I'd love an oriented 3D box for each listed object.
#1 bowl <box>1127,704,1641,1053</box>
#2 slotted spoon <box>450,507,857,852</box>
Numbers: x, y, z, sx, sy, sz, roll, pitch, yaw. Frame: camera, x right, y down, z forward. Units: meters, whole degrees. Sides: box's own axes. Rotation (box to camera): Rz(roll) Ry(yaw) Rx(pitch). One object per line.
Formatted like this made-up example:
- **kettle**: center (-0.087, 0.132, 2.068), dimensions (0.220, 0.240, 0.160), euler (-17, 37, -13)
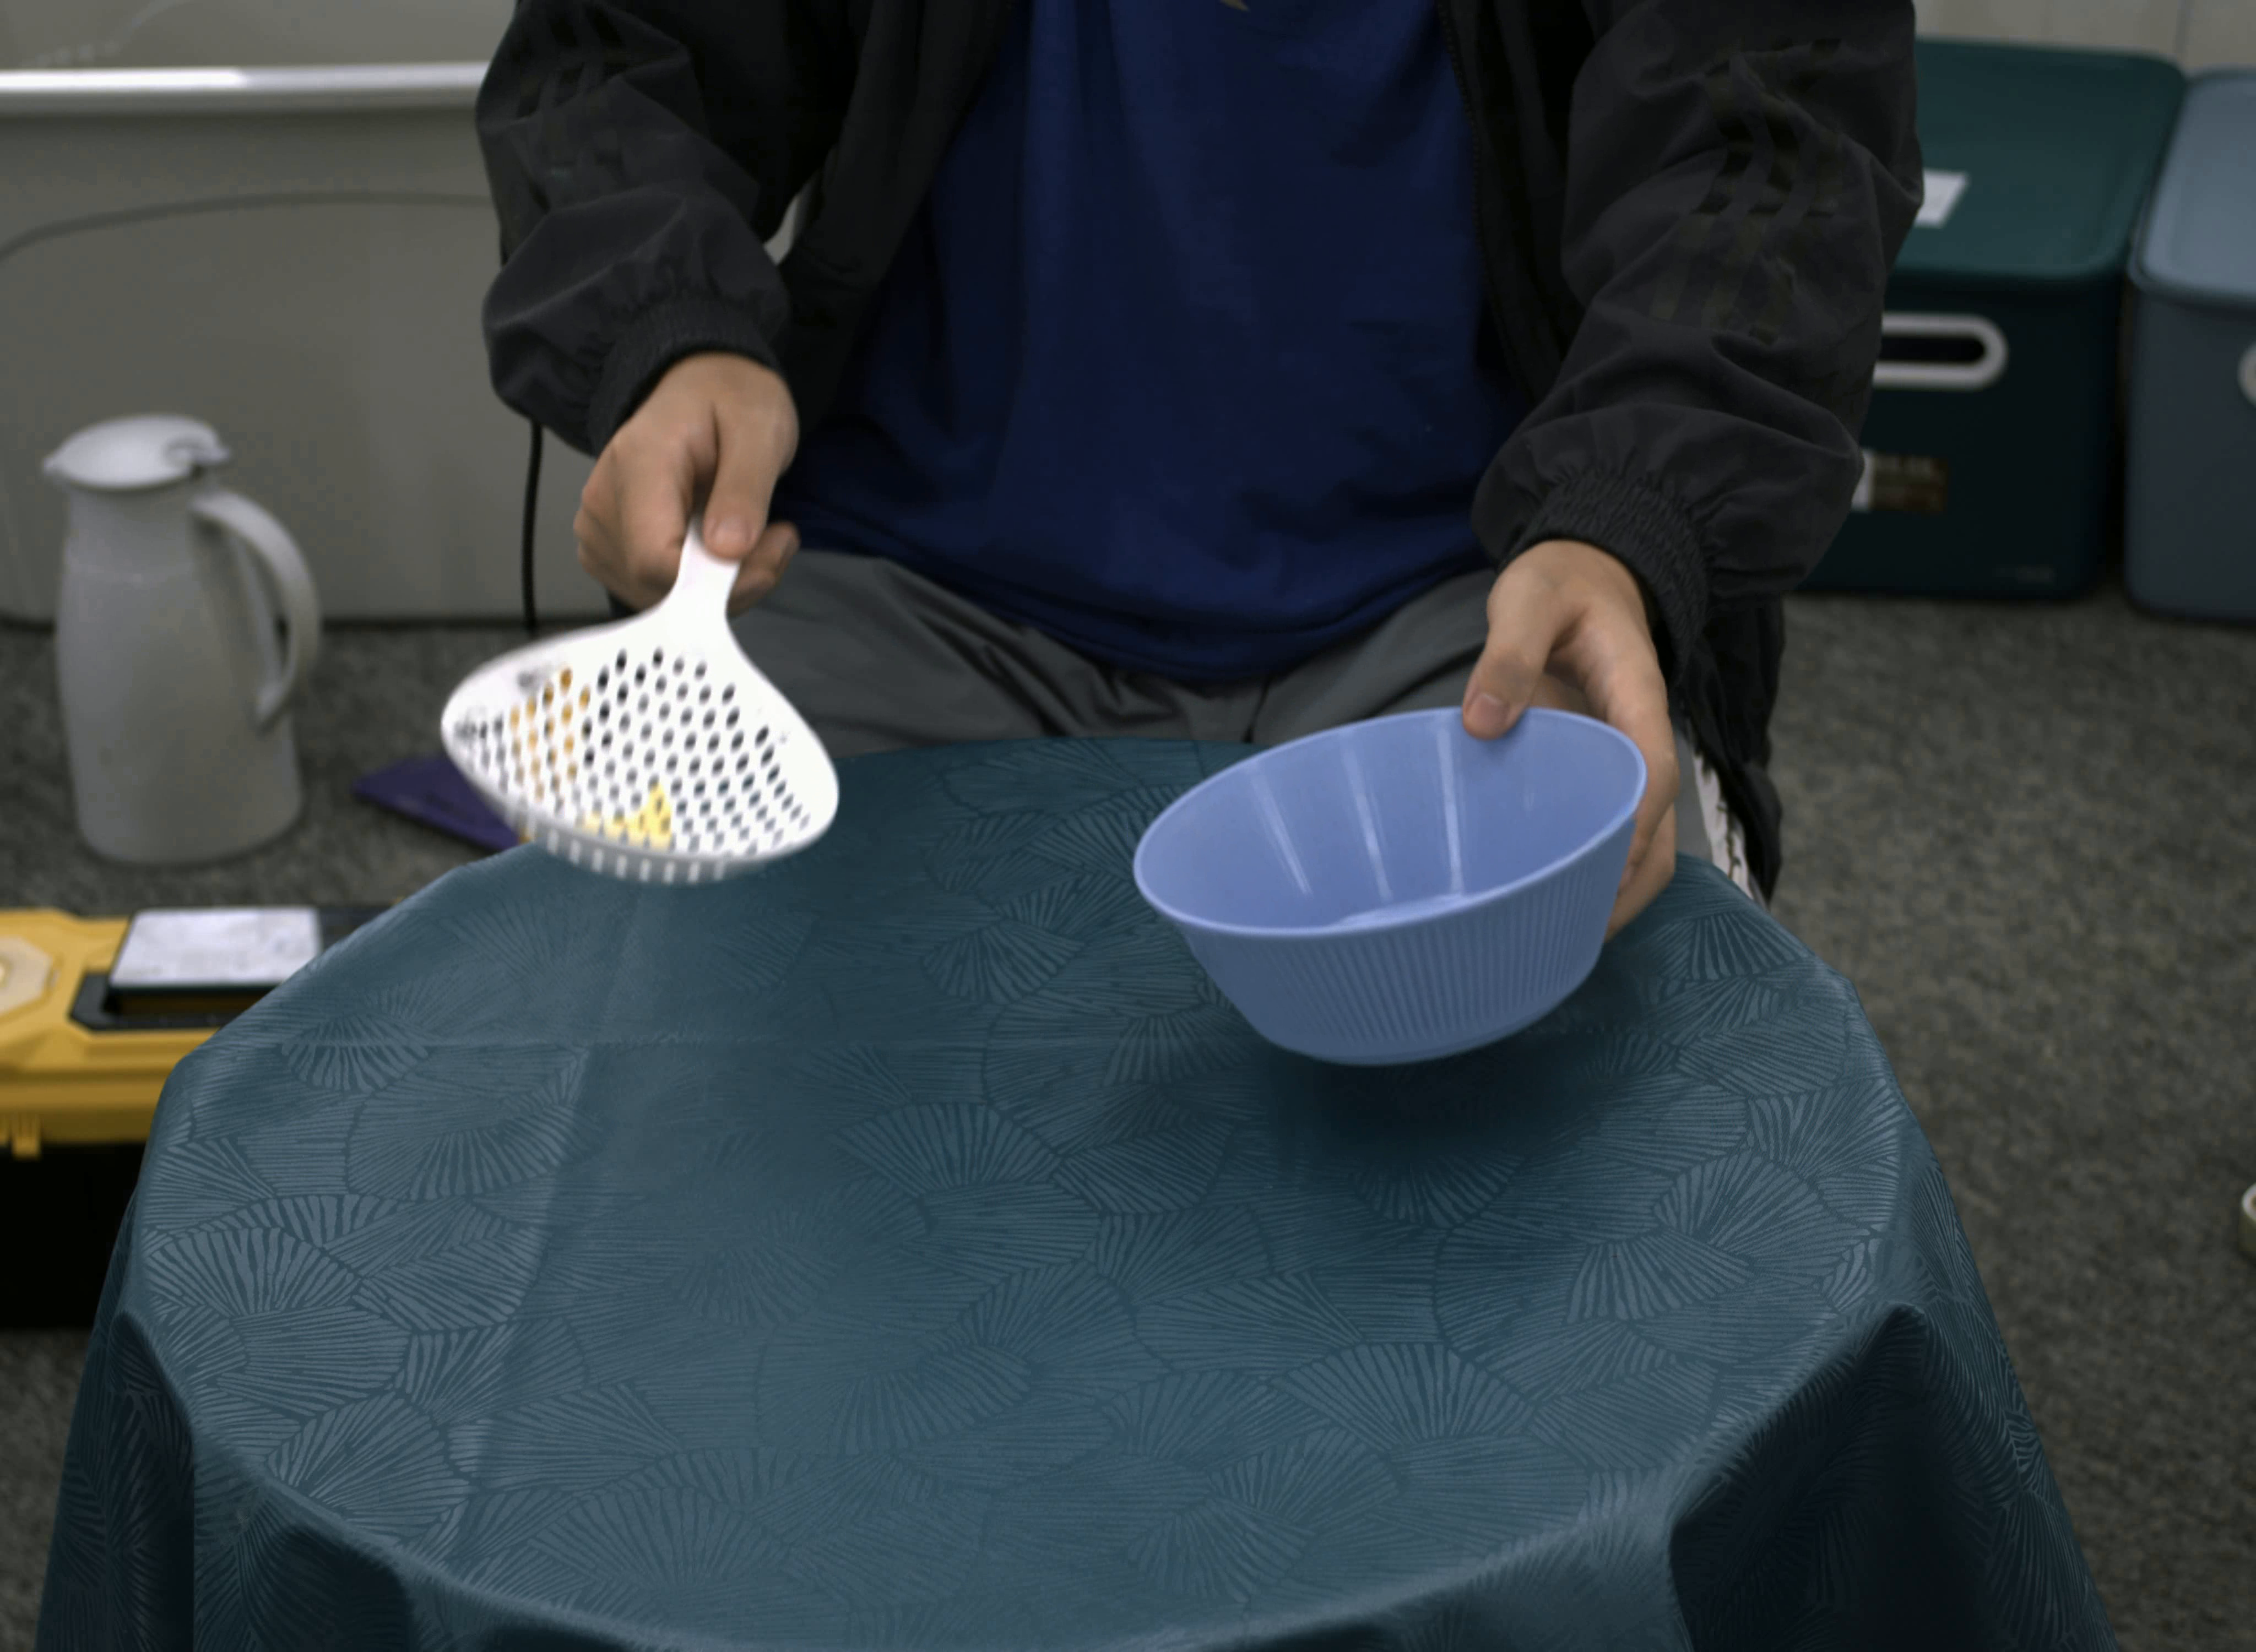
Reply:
- **bowl**: center (0.092, 0.022, 1.893), dimensions (0.175, 0.070, 0.178), euler (-11, 21, 5)
- **slotted spoon**: center (-0.156, -0.063, 1.961), dimensions (0.136, 0.050, 0.353), euler (12, 24, -4)
